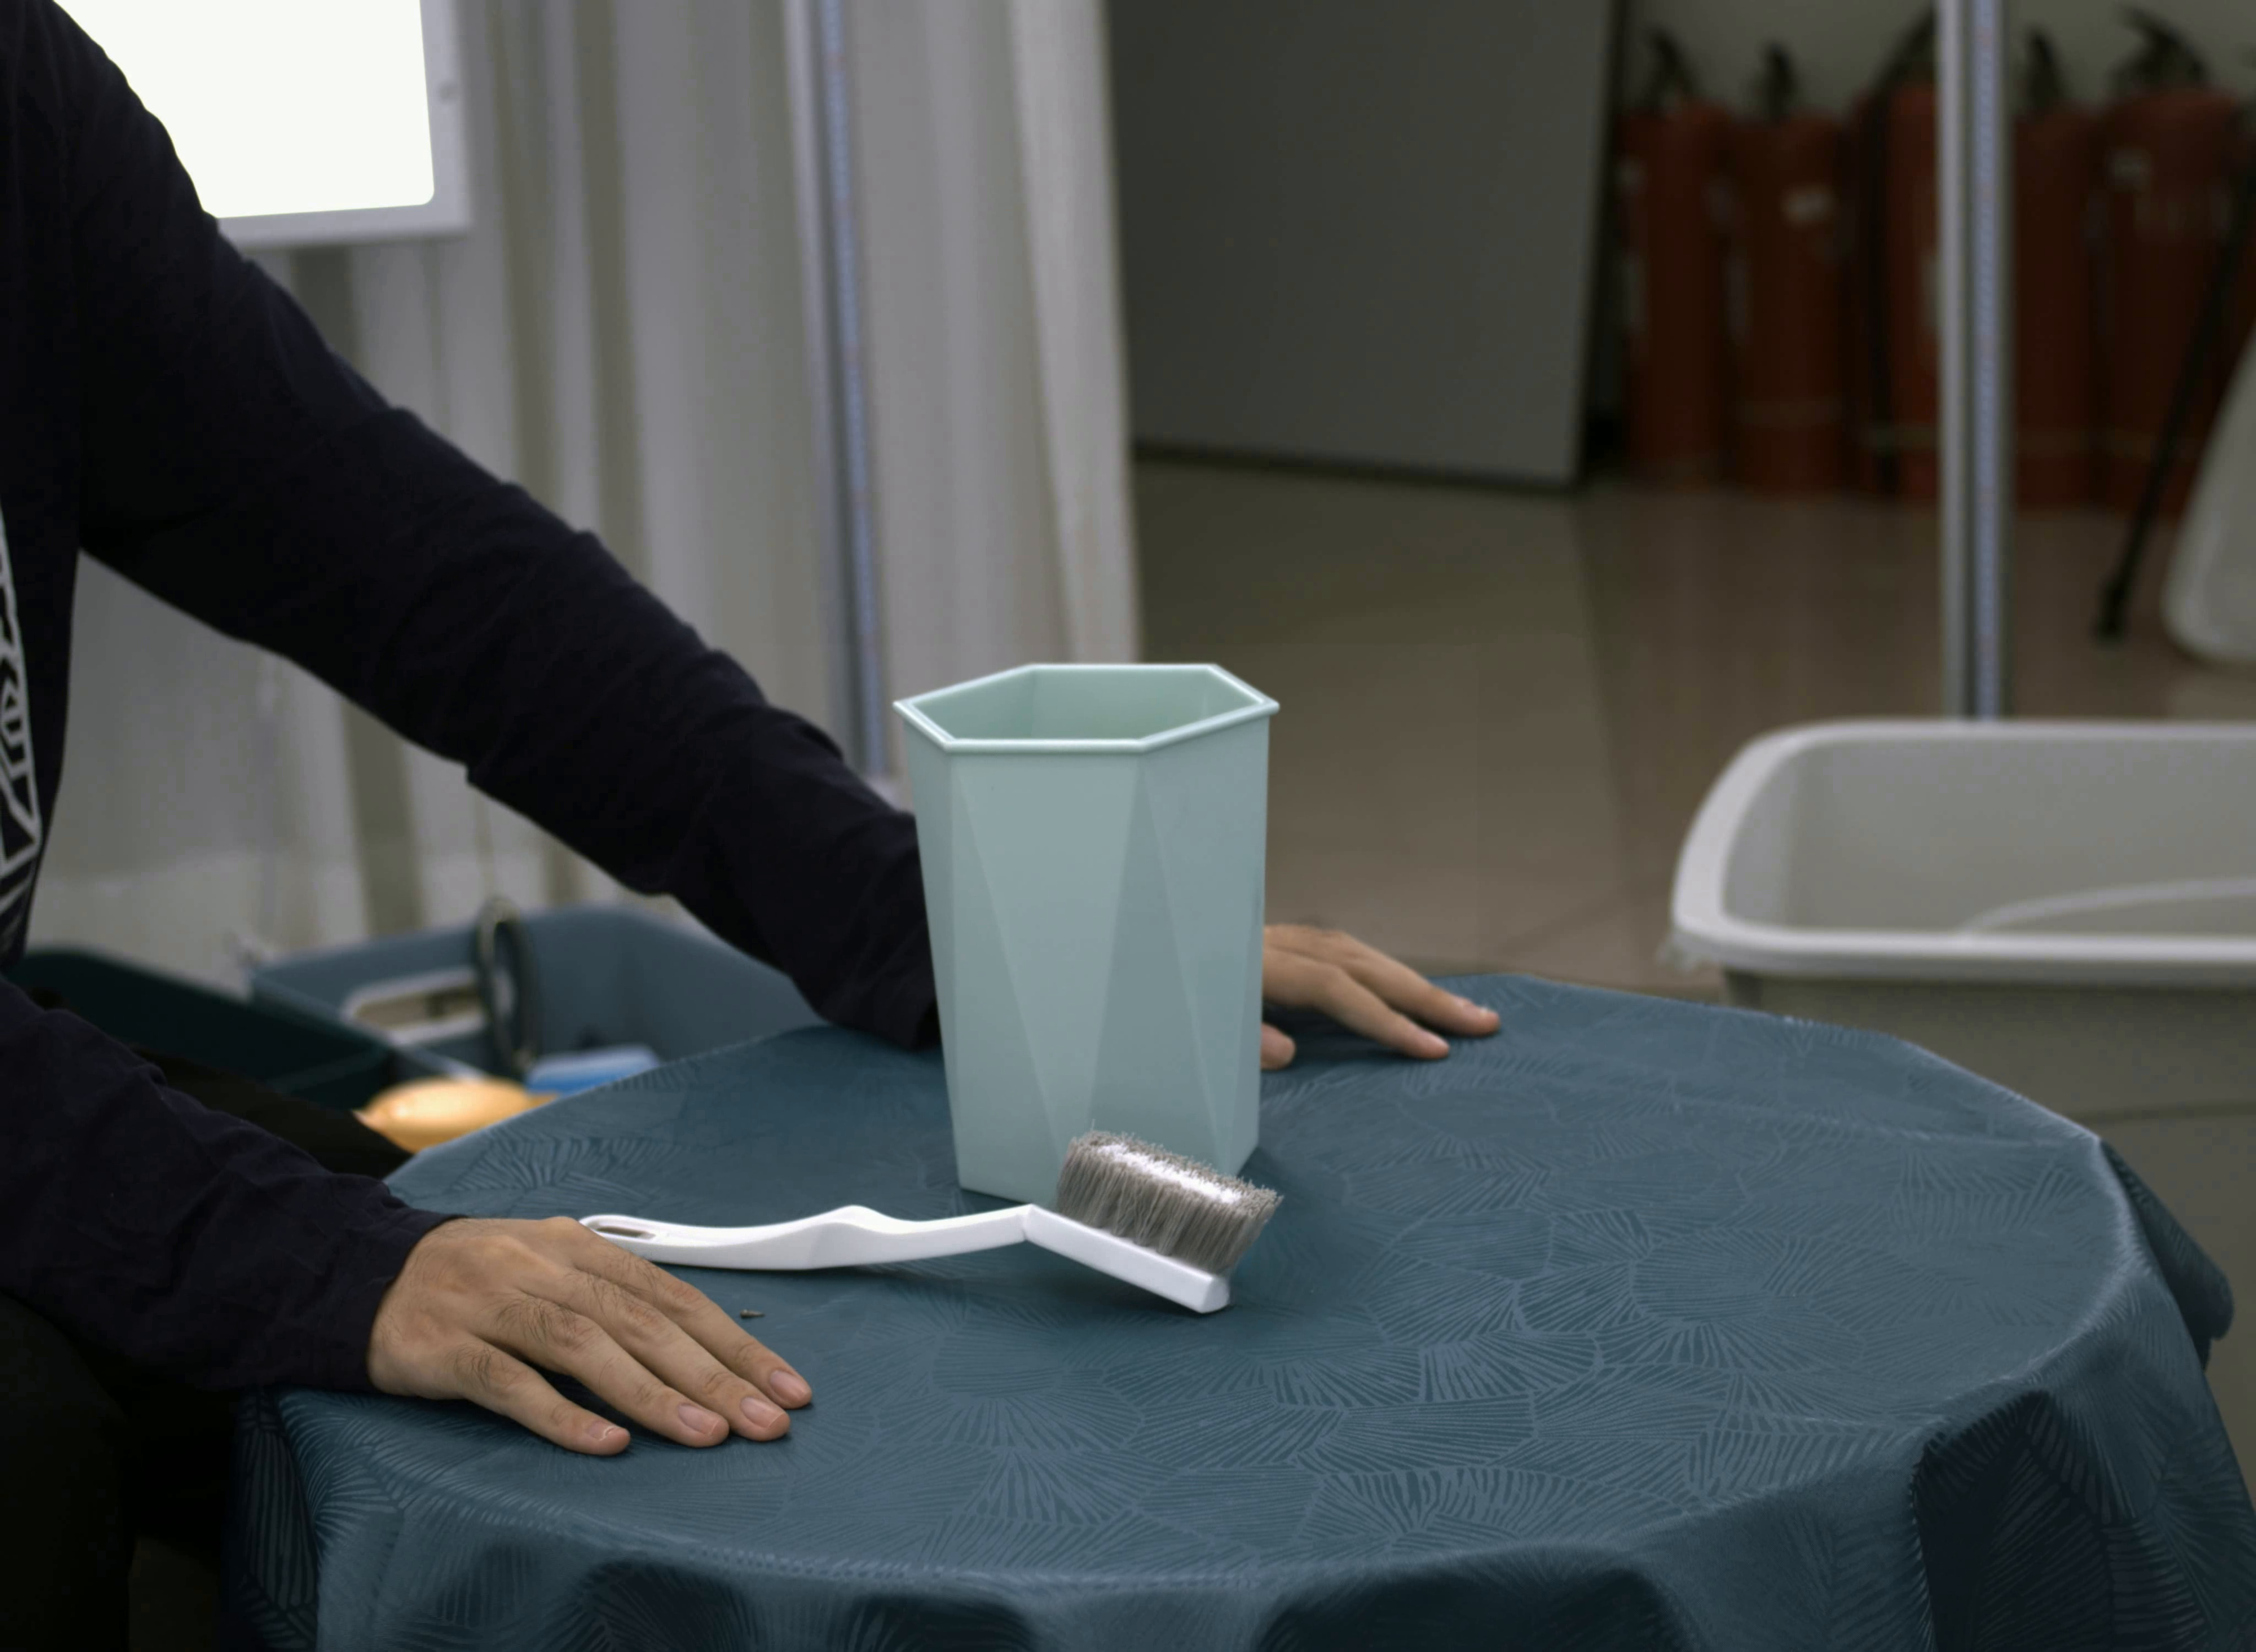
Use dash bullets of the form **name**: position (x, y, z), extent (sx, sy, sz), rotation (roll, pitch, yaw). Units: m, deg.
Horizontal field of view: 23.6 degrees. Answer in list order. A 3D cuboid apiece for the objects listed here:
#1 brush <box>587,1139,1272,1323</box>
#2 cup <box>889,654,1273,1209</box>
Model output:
- **brush**: position (-0.067, 0.120, 1.700), extent (0.244, 0.051, 0.034), rotation (3, 16, 28)
- **cup**: position (-0.009, 0.035, 1.784), extent (0.113, 0.165, 0.132), rotation (-9, 13, -16)
